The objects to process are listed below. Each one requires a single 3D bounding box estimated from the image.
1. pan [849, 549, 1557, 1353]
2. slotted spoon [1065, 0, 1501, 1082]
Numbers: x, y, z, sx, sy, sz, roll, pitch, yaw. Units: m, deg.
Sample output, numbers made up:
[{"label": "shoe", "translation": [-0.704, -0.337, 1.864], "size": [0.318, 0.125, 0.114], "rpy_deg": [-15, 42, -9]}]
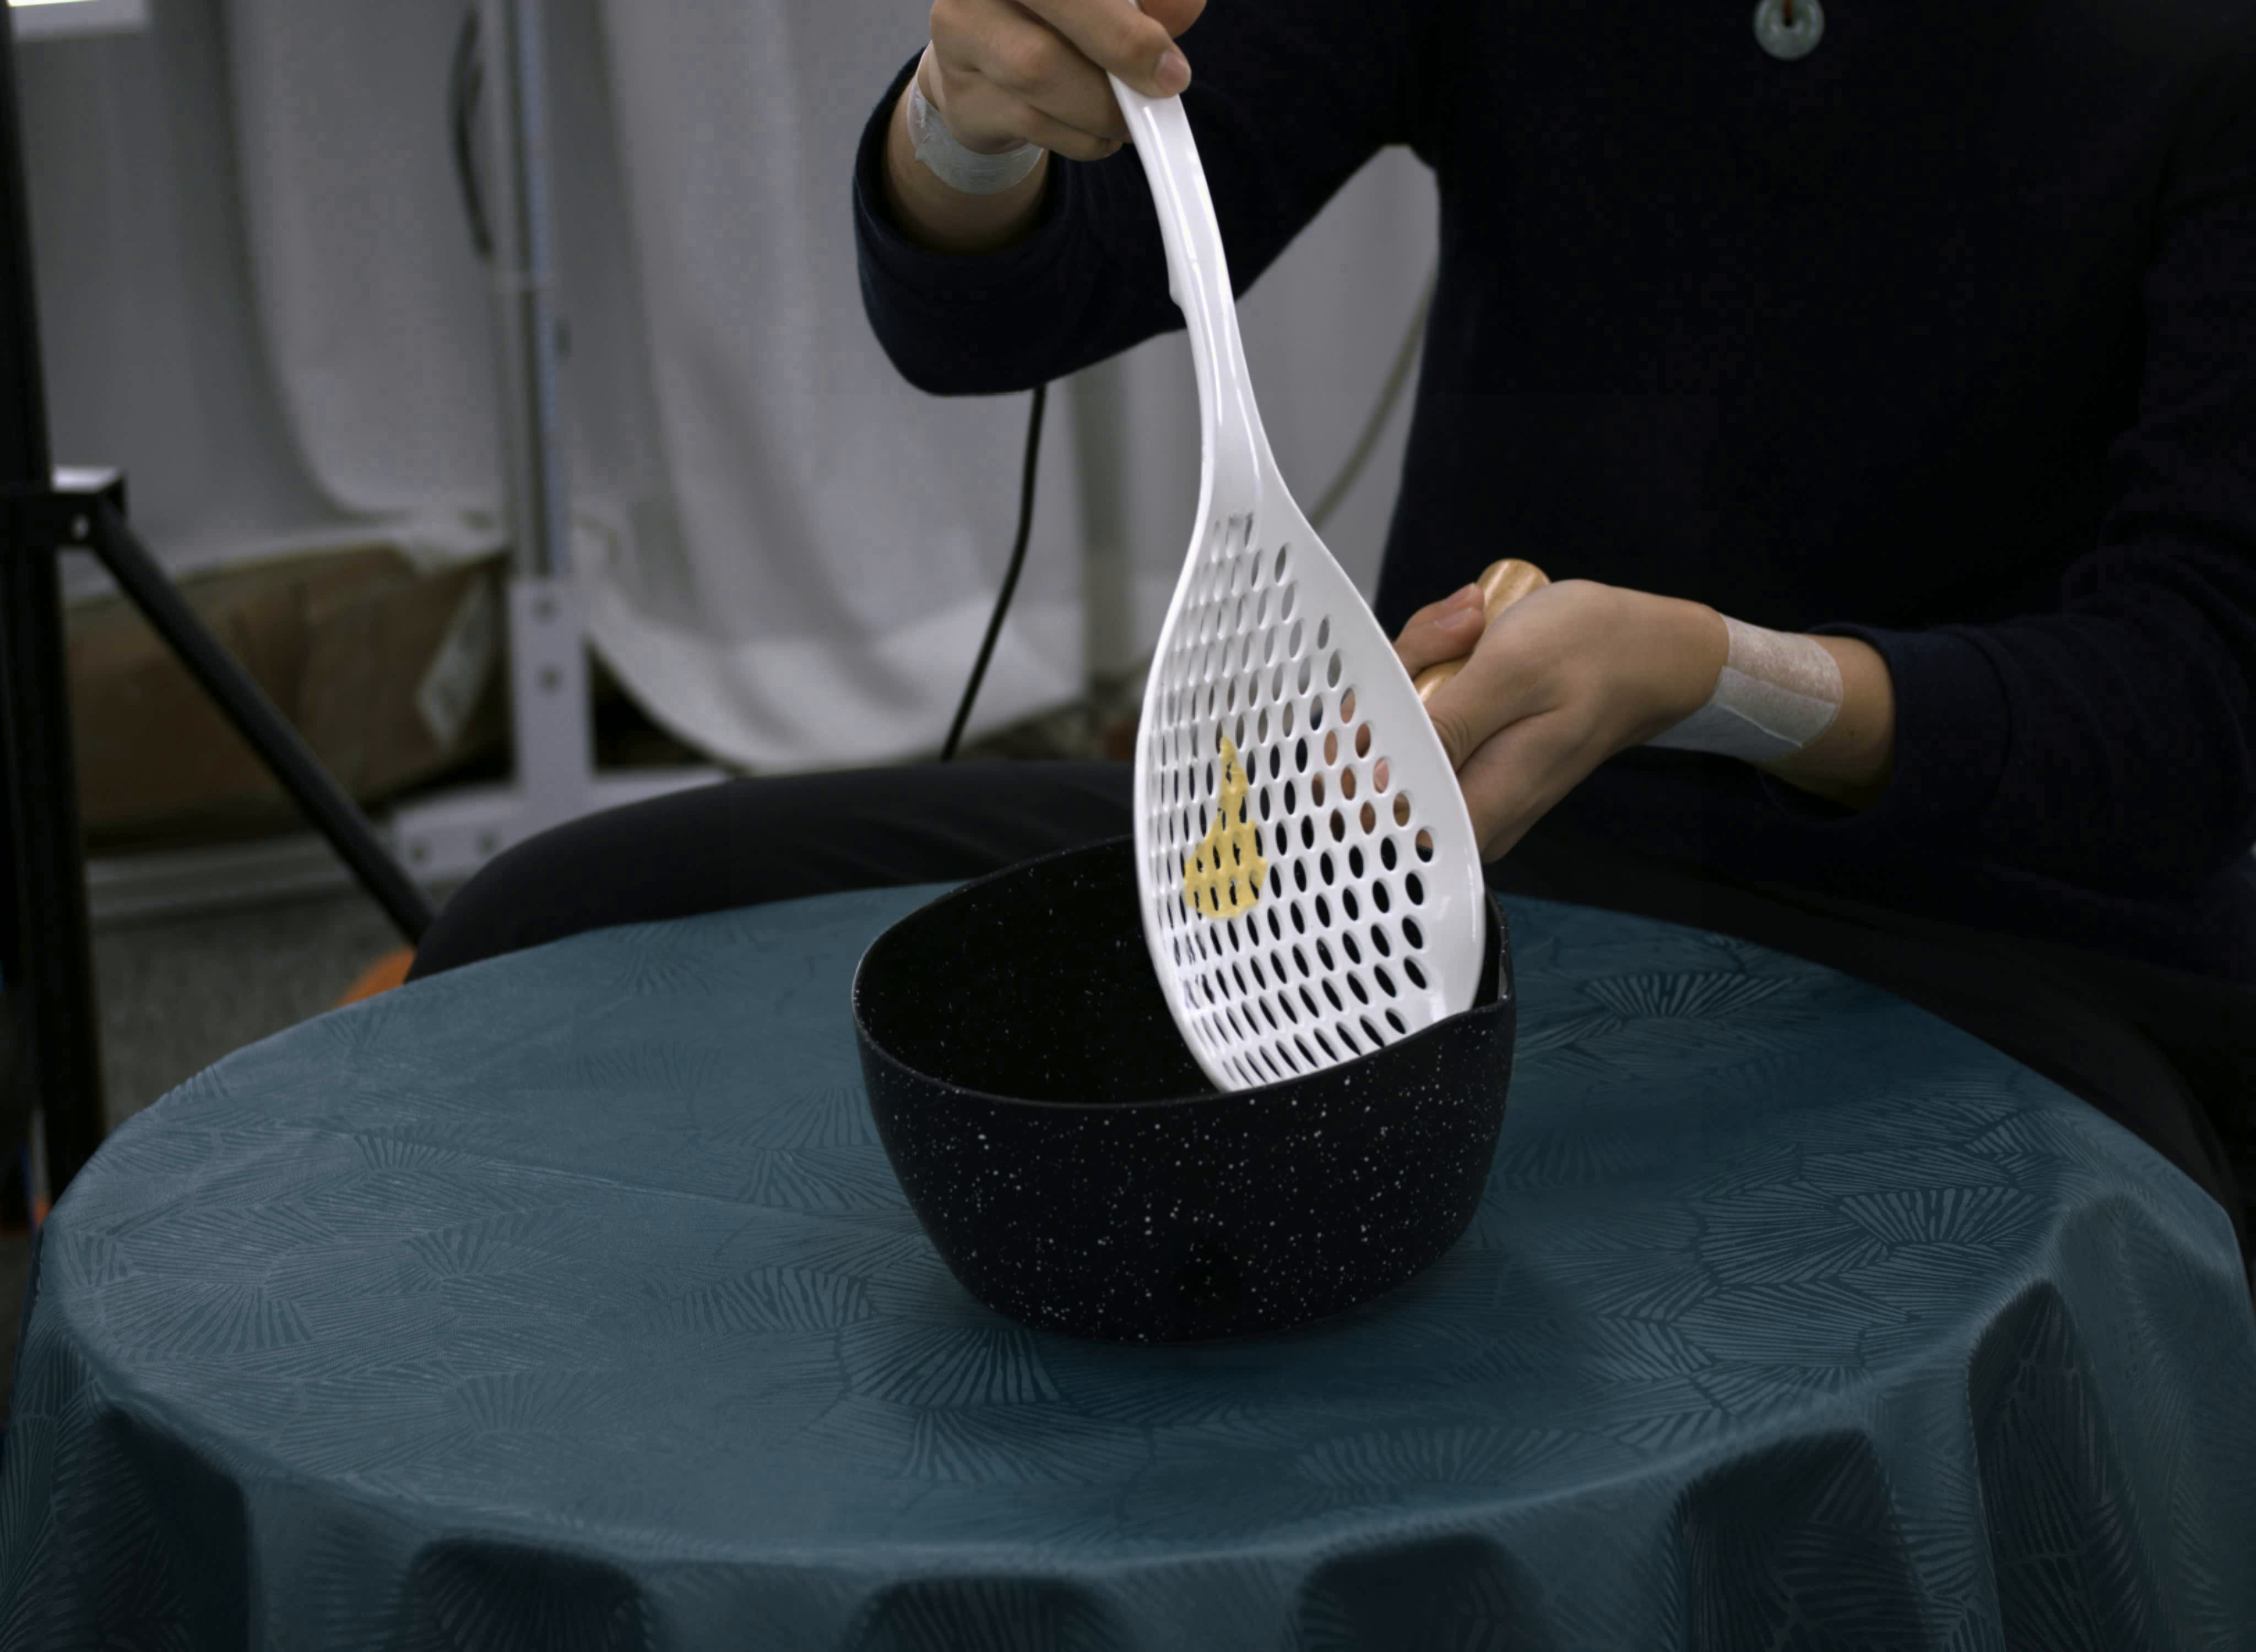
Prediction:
[{"label": "pan", "translation": [0.052, 0.032, 1.543], "size": [0.211, 0.108, 0.339], "rpy_deg": [3, 27, 28]}, {"label": "slotted spoon", "translation": [0.022, -0.091, 1.437], "size": [0.133, 0.348, 0.051], "rpy_deg": [-16, 9, -43]}]
